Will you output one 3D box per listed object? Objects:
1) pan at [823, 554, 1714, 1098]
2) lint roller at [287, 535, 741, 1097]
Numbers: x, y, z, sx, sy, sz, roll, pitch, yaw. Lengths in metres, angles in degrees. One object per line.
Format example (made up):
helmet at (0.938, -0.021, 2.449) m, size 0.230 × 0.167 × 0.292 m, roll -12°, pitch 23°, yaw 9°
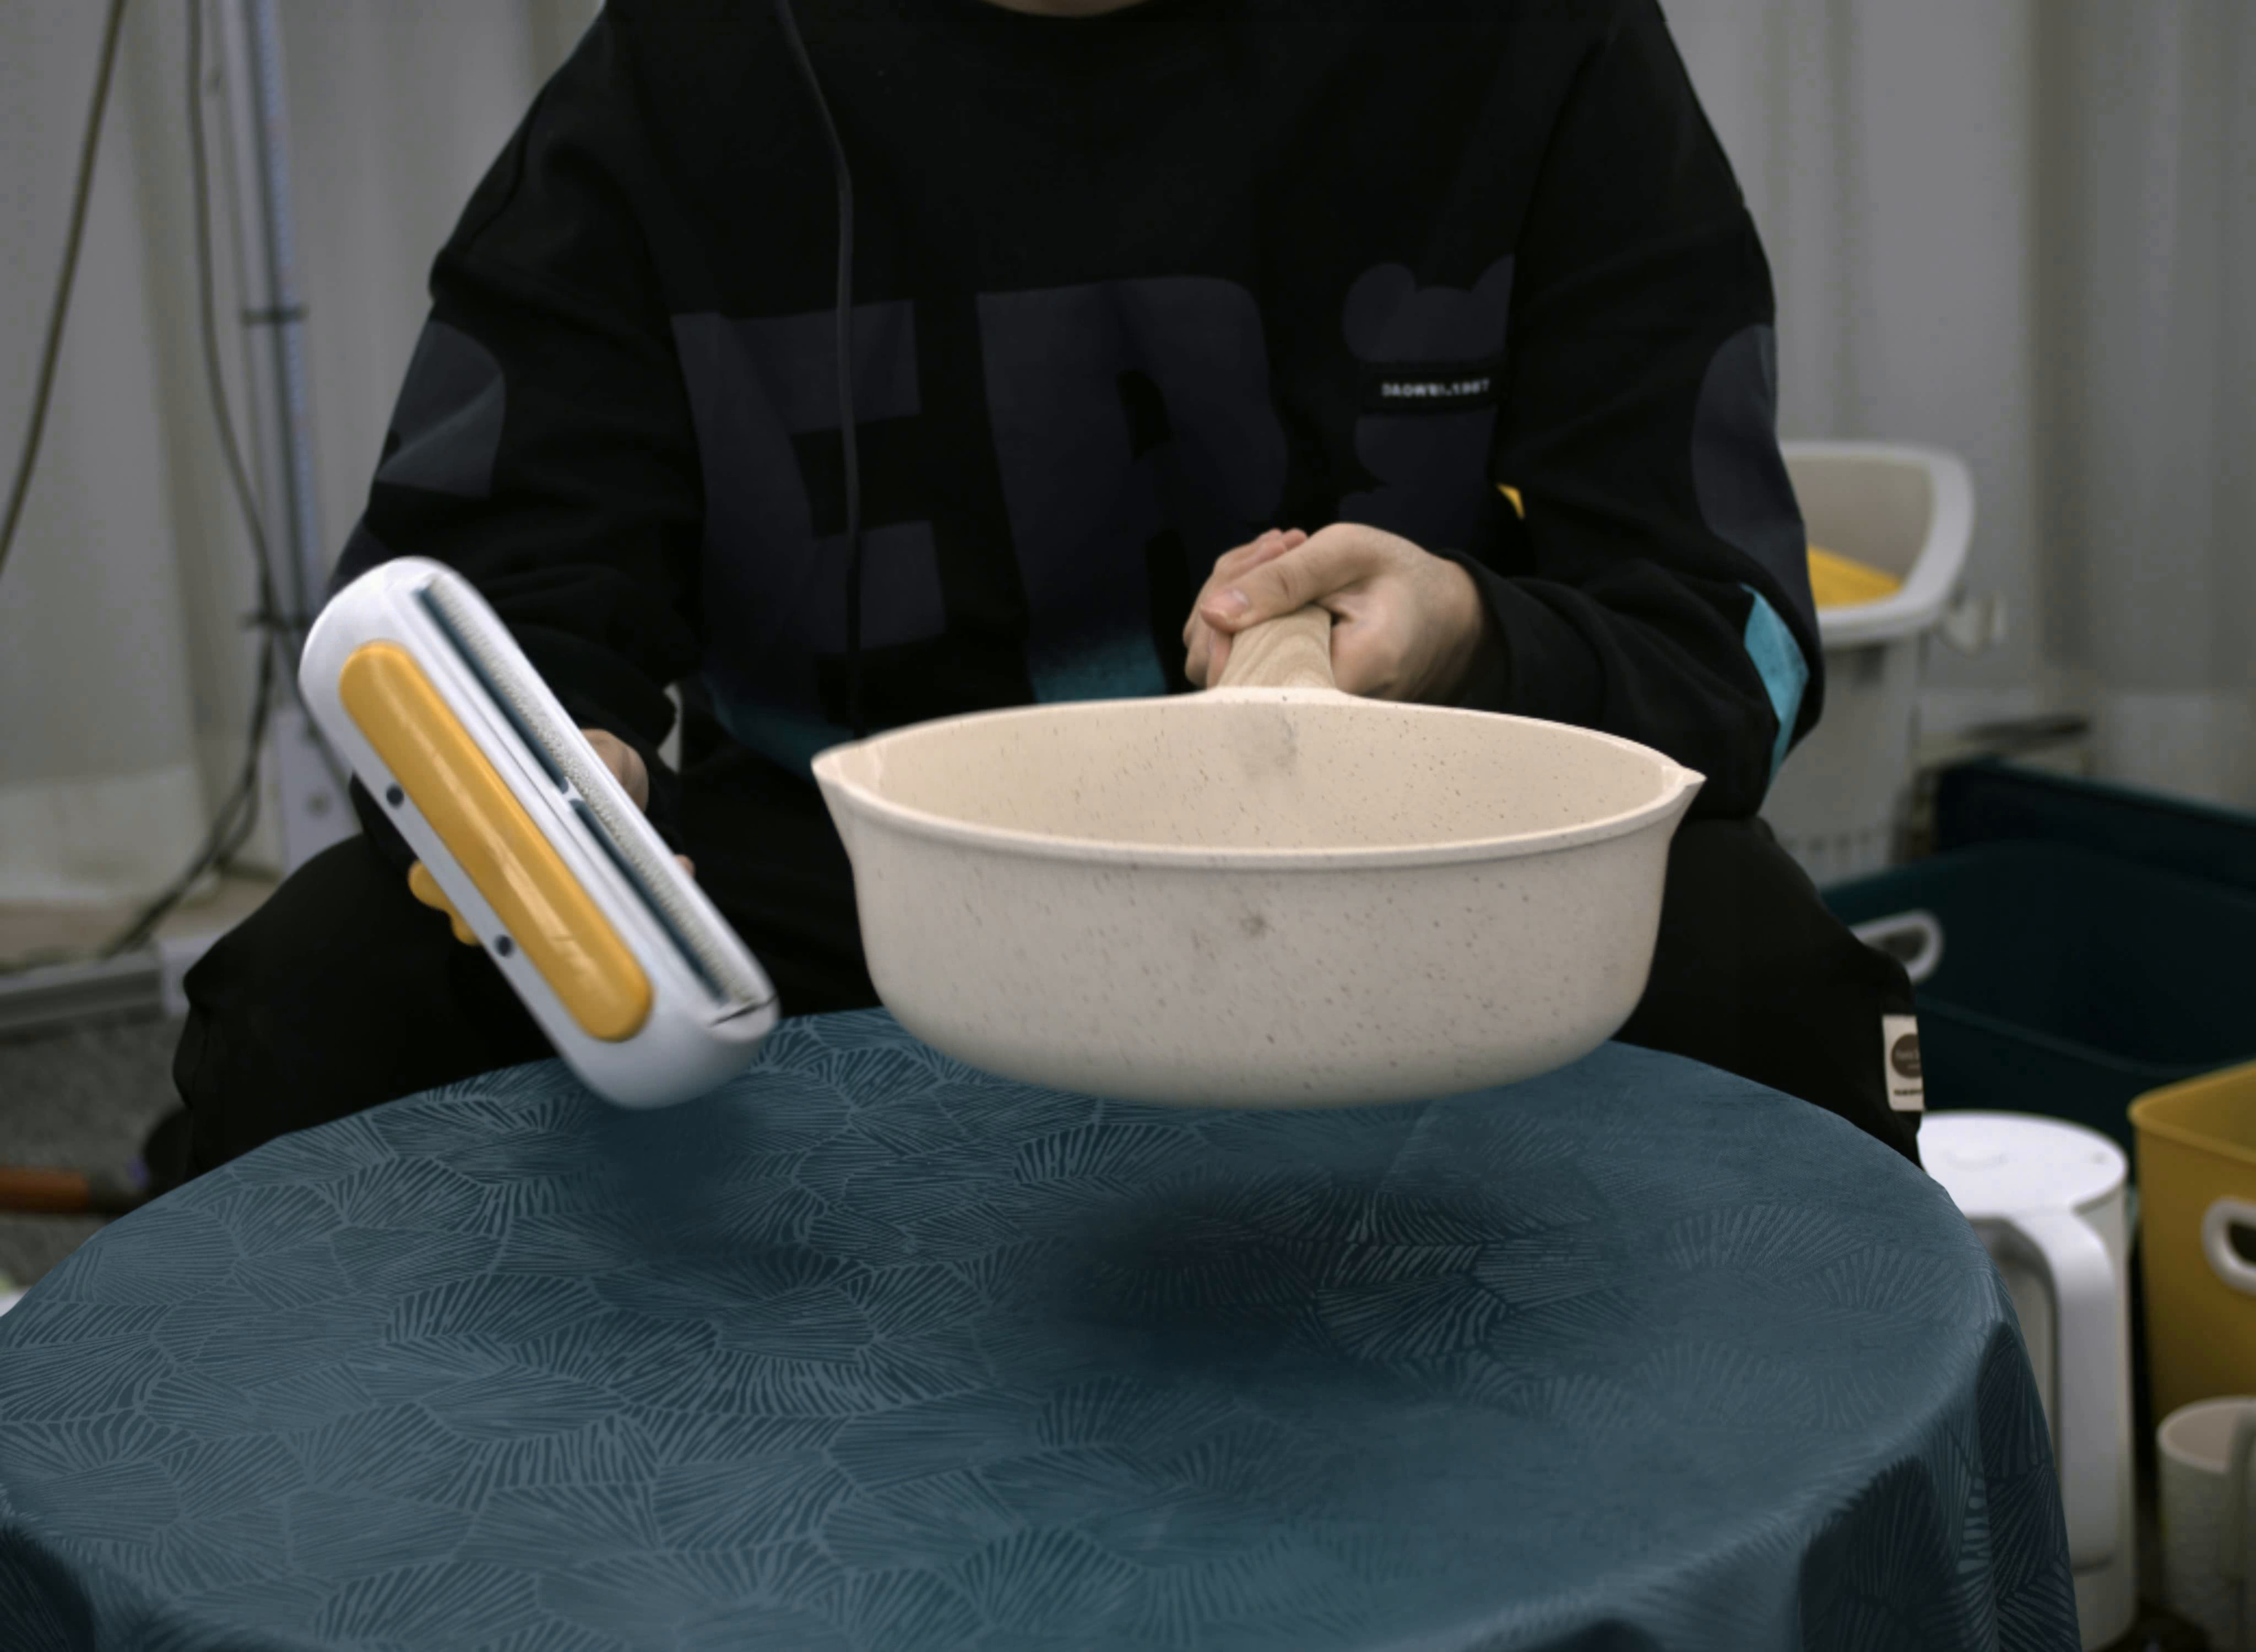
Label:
pan at (0.046, -0.004, 1.705) m, size 0.262 × 0.102 × 0.437 m, roll -1°, pitch 11°, yaw 3°
lint roller at (-0.176, 0.005, 1.736) m, size 0.074 × 0.194 × 0.191 m, roll -40°, pitch -14°, yaw 11°
